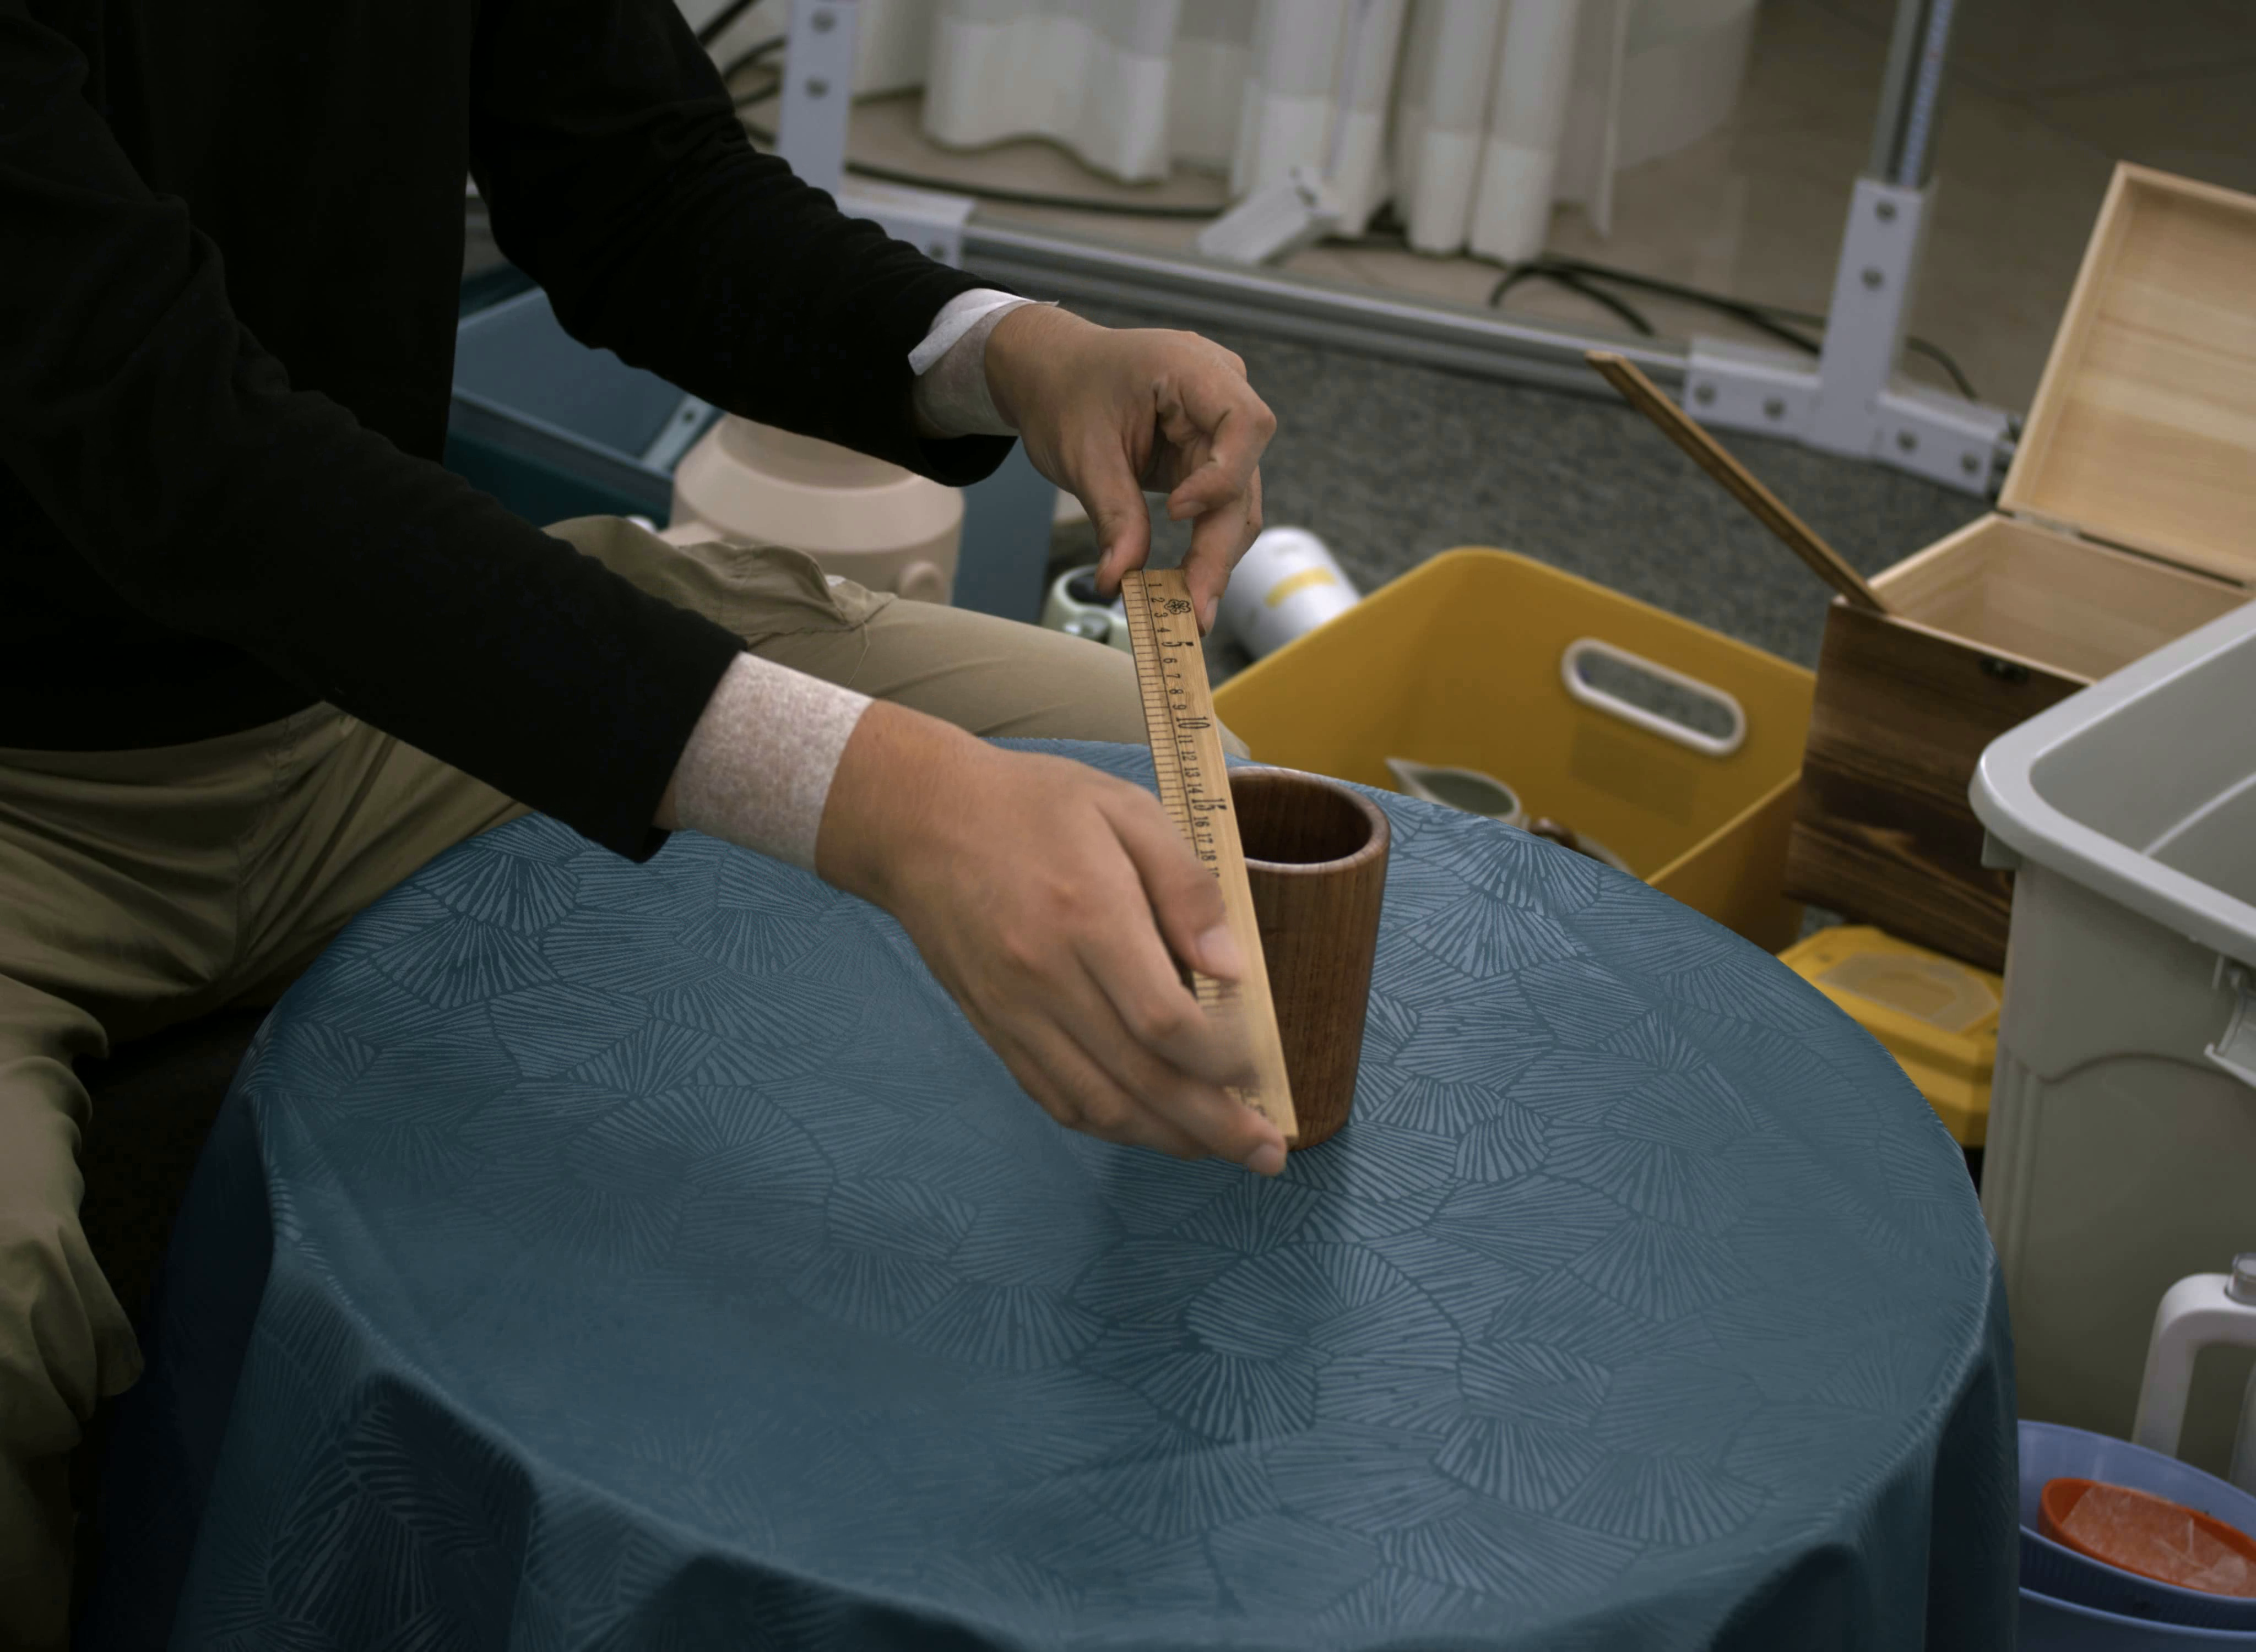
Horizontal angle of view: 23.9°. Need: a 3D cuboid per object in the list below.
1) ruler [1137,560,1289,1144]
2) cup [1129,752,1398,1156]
[{"bbox_3d":[0.026,0.000,1.795,0.027,0.022,0.334,3,34,-7],"label":"ruler"},{"bbox_3d":[0.046,0.044,1.840,0.087,0.118,0.088,6,26,-3],"label":"cup"}]
